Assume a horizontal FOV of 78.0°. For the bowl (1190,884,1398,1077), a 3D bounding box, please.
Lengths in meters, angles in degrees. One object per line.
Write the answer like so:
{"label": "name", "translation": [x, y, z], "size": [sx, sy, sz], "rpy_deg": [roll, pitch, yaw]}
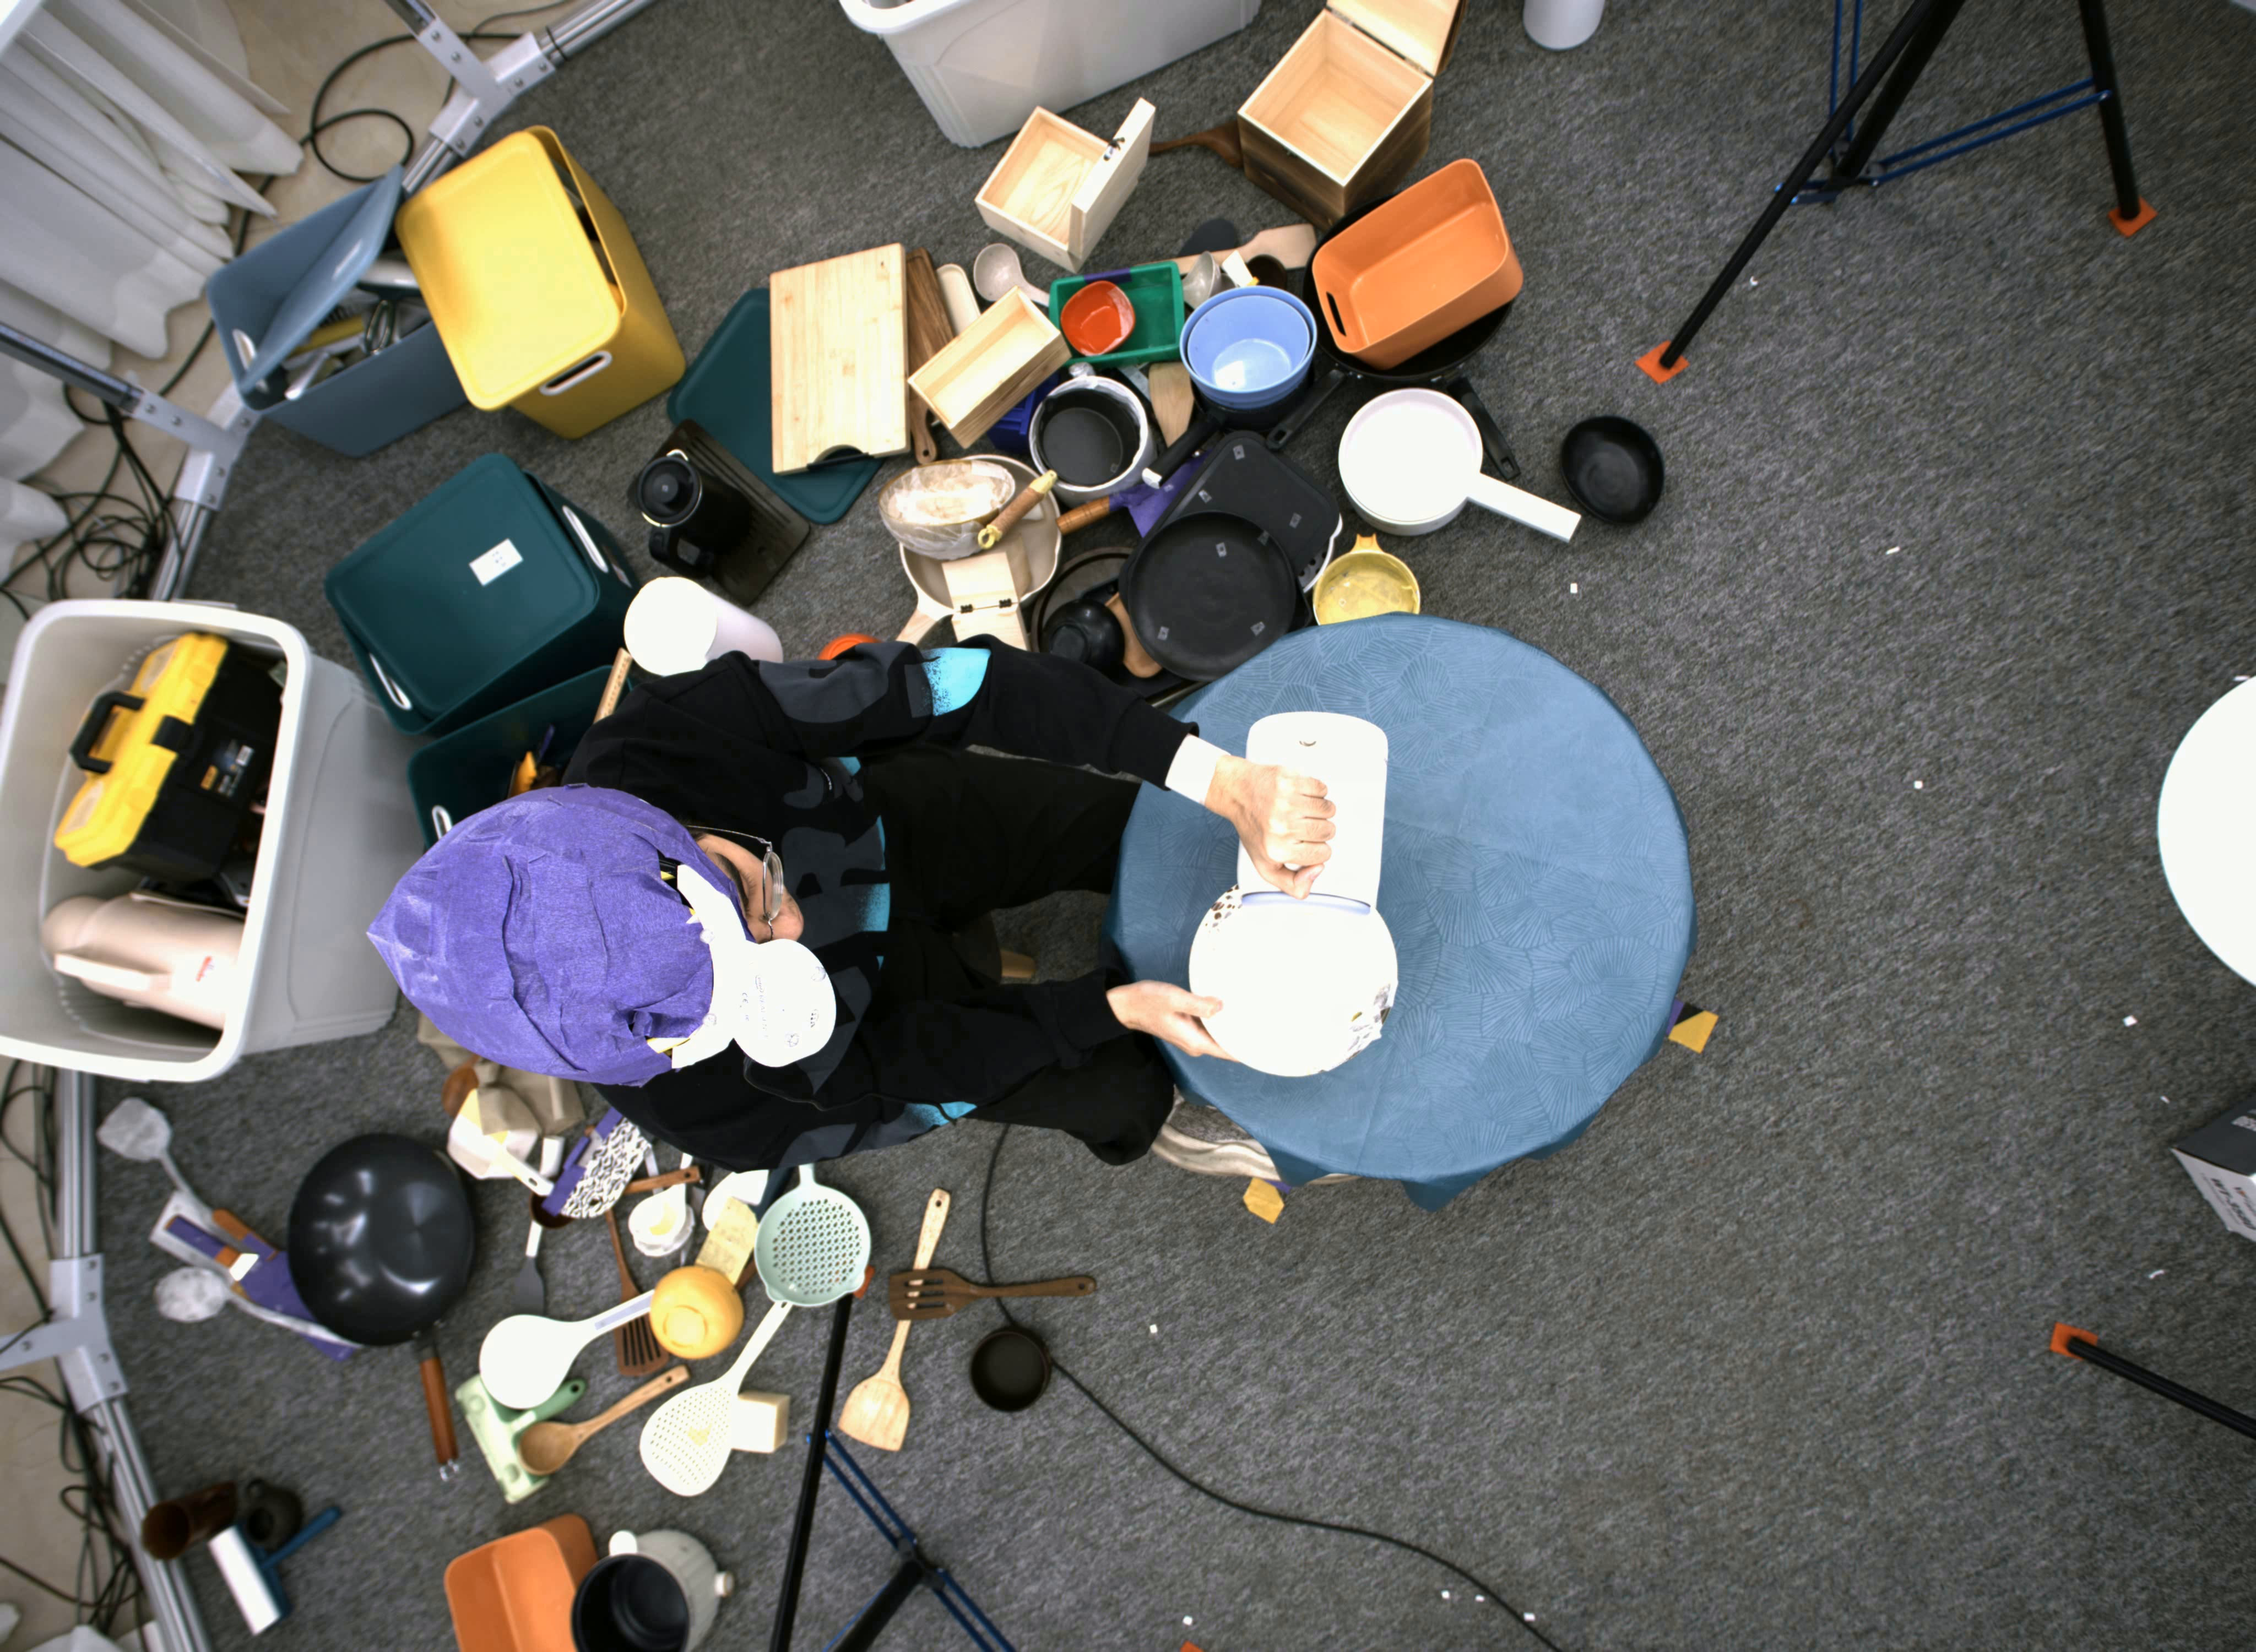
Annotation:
{"label": "bowl", "translation": [0.168, 0.148, 1.387], "size": [0.205, 0.078, 0.202], "rpy_deg": [-2, 82, 12]}

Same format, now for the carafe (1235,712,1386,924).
{"label": "carafe", "translation": [0.161, -0.013, 1.247], "size": [0.133, 0.192, 0.180], "rpy_deg": [1, 77, 17]}
